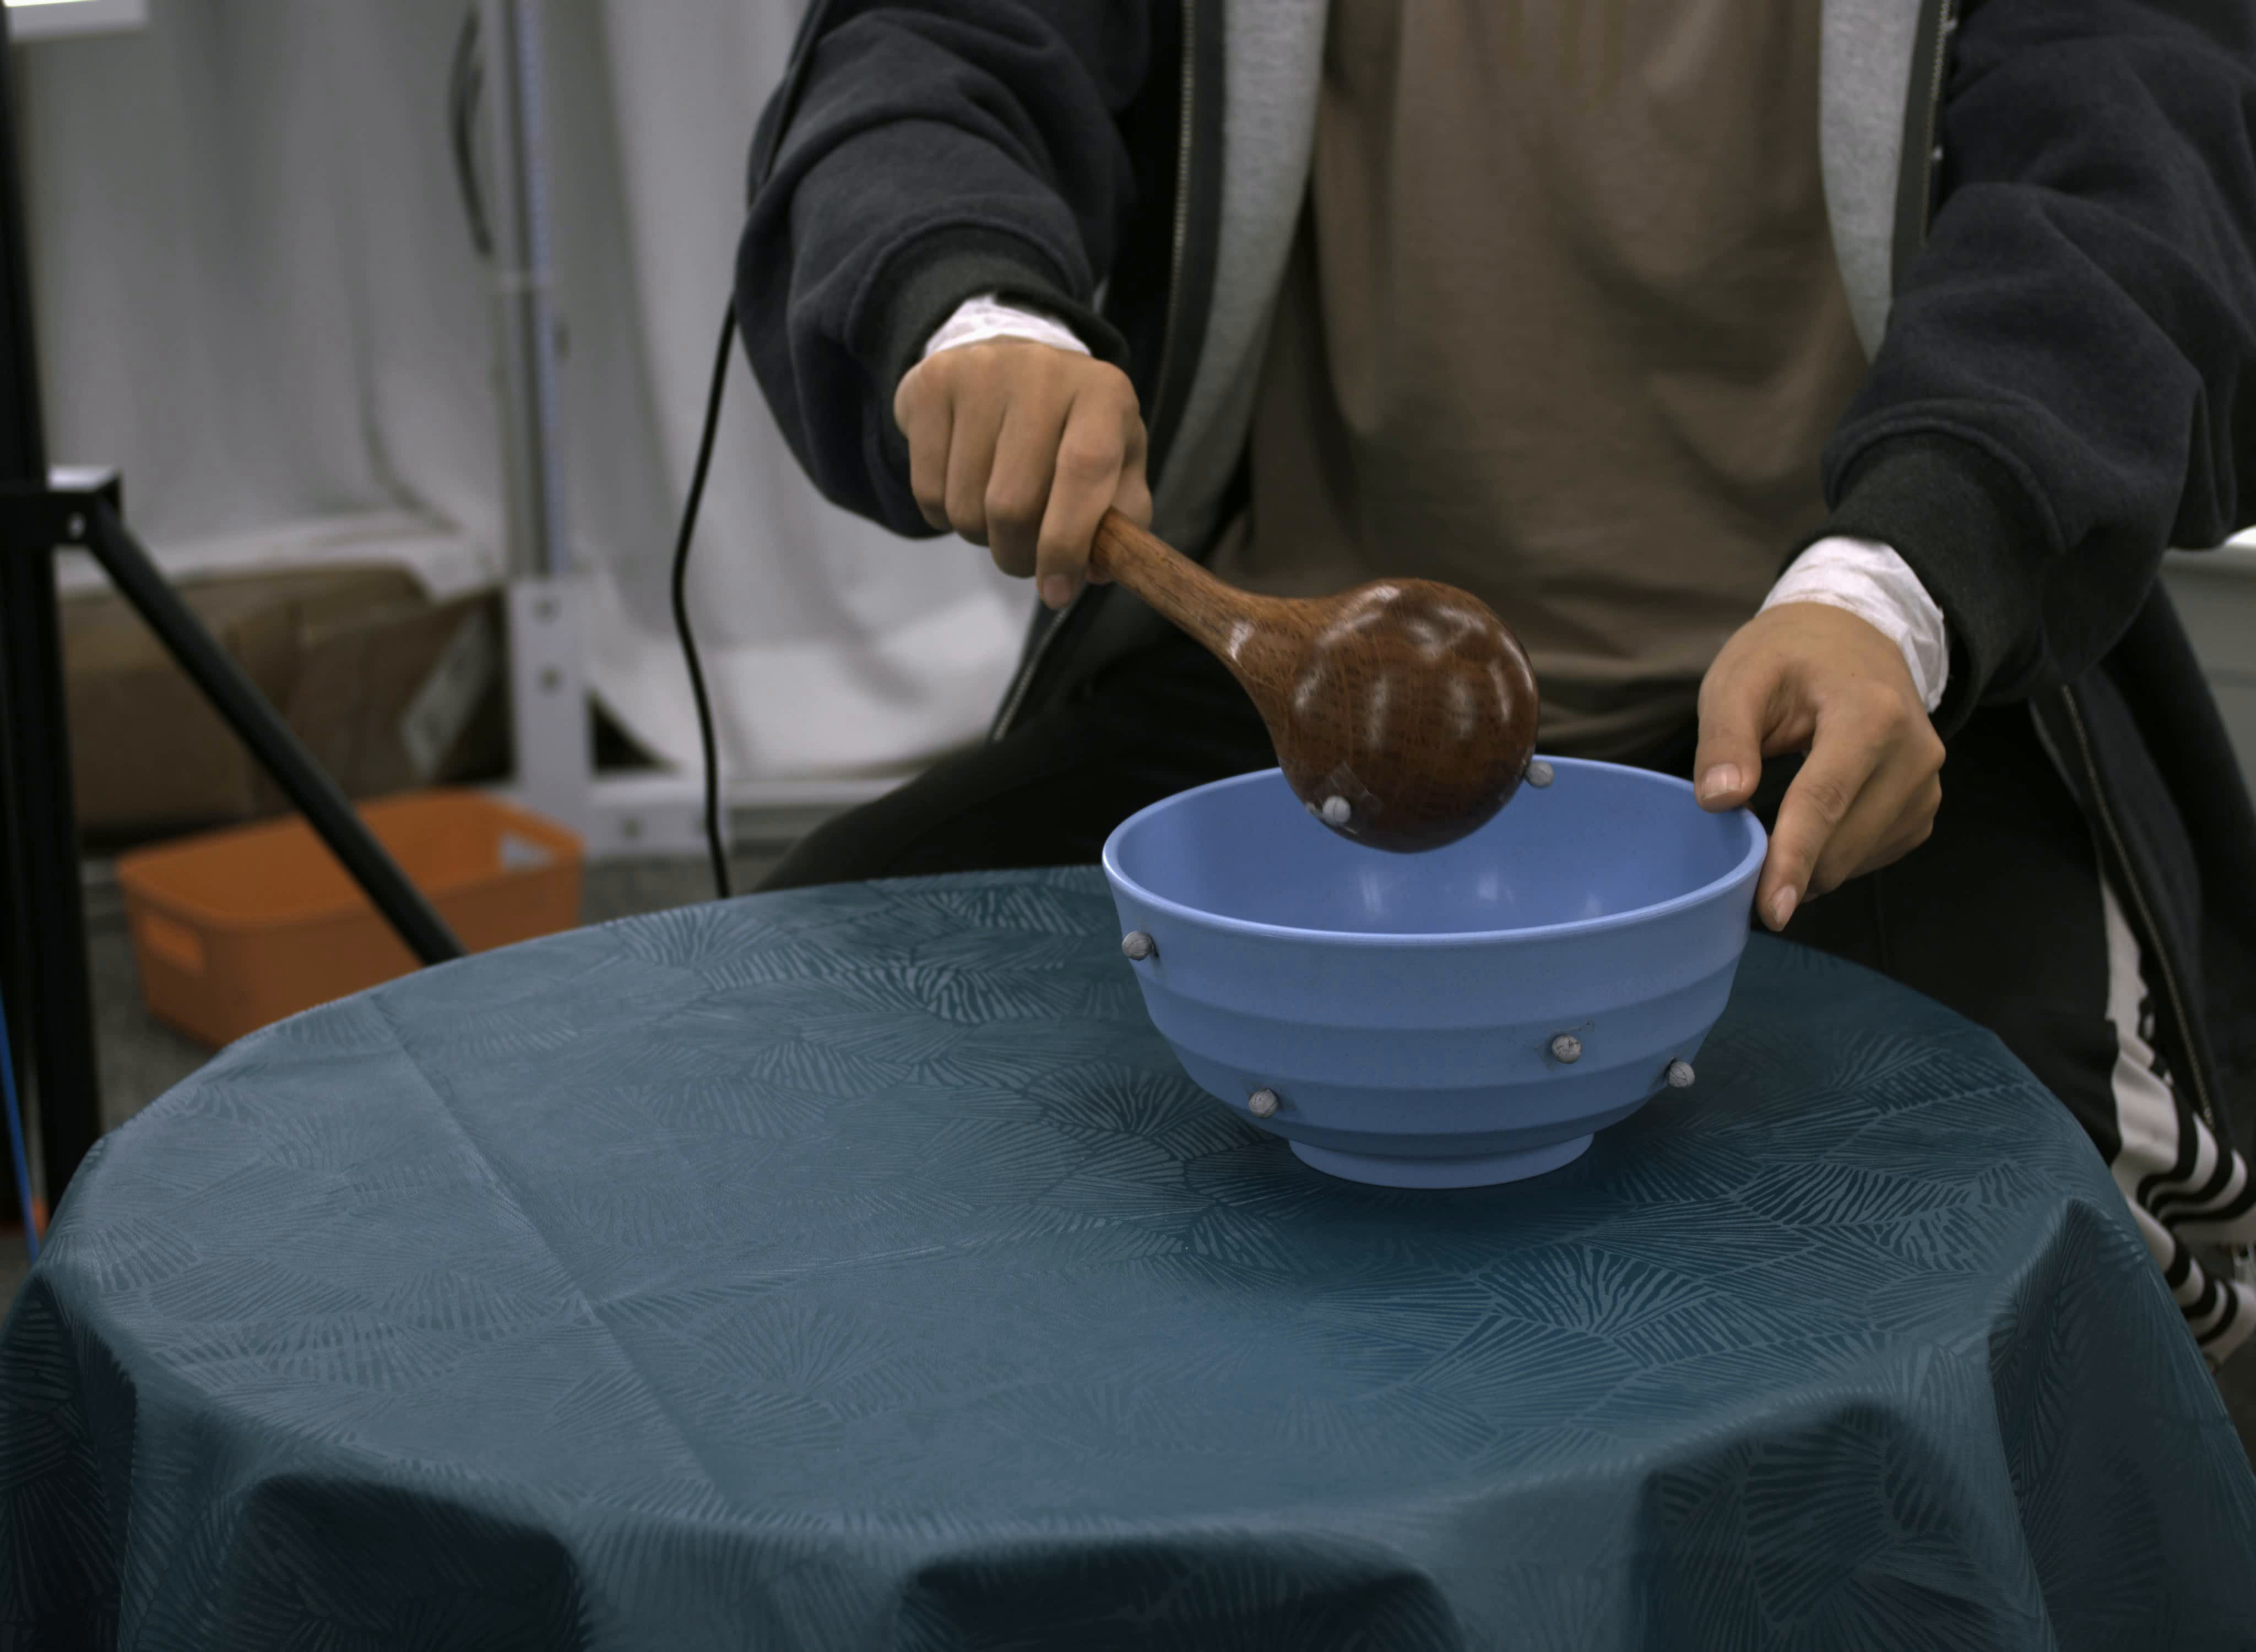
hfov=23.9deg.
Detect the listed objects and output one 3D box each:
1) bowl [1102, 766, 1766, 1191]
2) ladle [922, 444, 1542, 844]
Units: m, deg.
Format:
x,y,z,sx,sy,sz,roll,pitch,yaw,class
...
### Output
x,y,z,sx,sy,sz,roll,pitch,yaw,class
0.091,0.050,1.579,0.195,0.095,0.197,-3,14,-1,bowl
0.030,-0.068,1.644,0.075,0.082,0.280,24,4,-33,ladle
